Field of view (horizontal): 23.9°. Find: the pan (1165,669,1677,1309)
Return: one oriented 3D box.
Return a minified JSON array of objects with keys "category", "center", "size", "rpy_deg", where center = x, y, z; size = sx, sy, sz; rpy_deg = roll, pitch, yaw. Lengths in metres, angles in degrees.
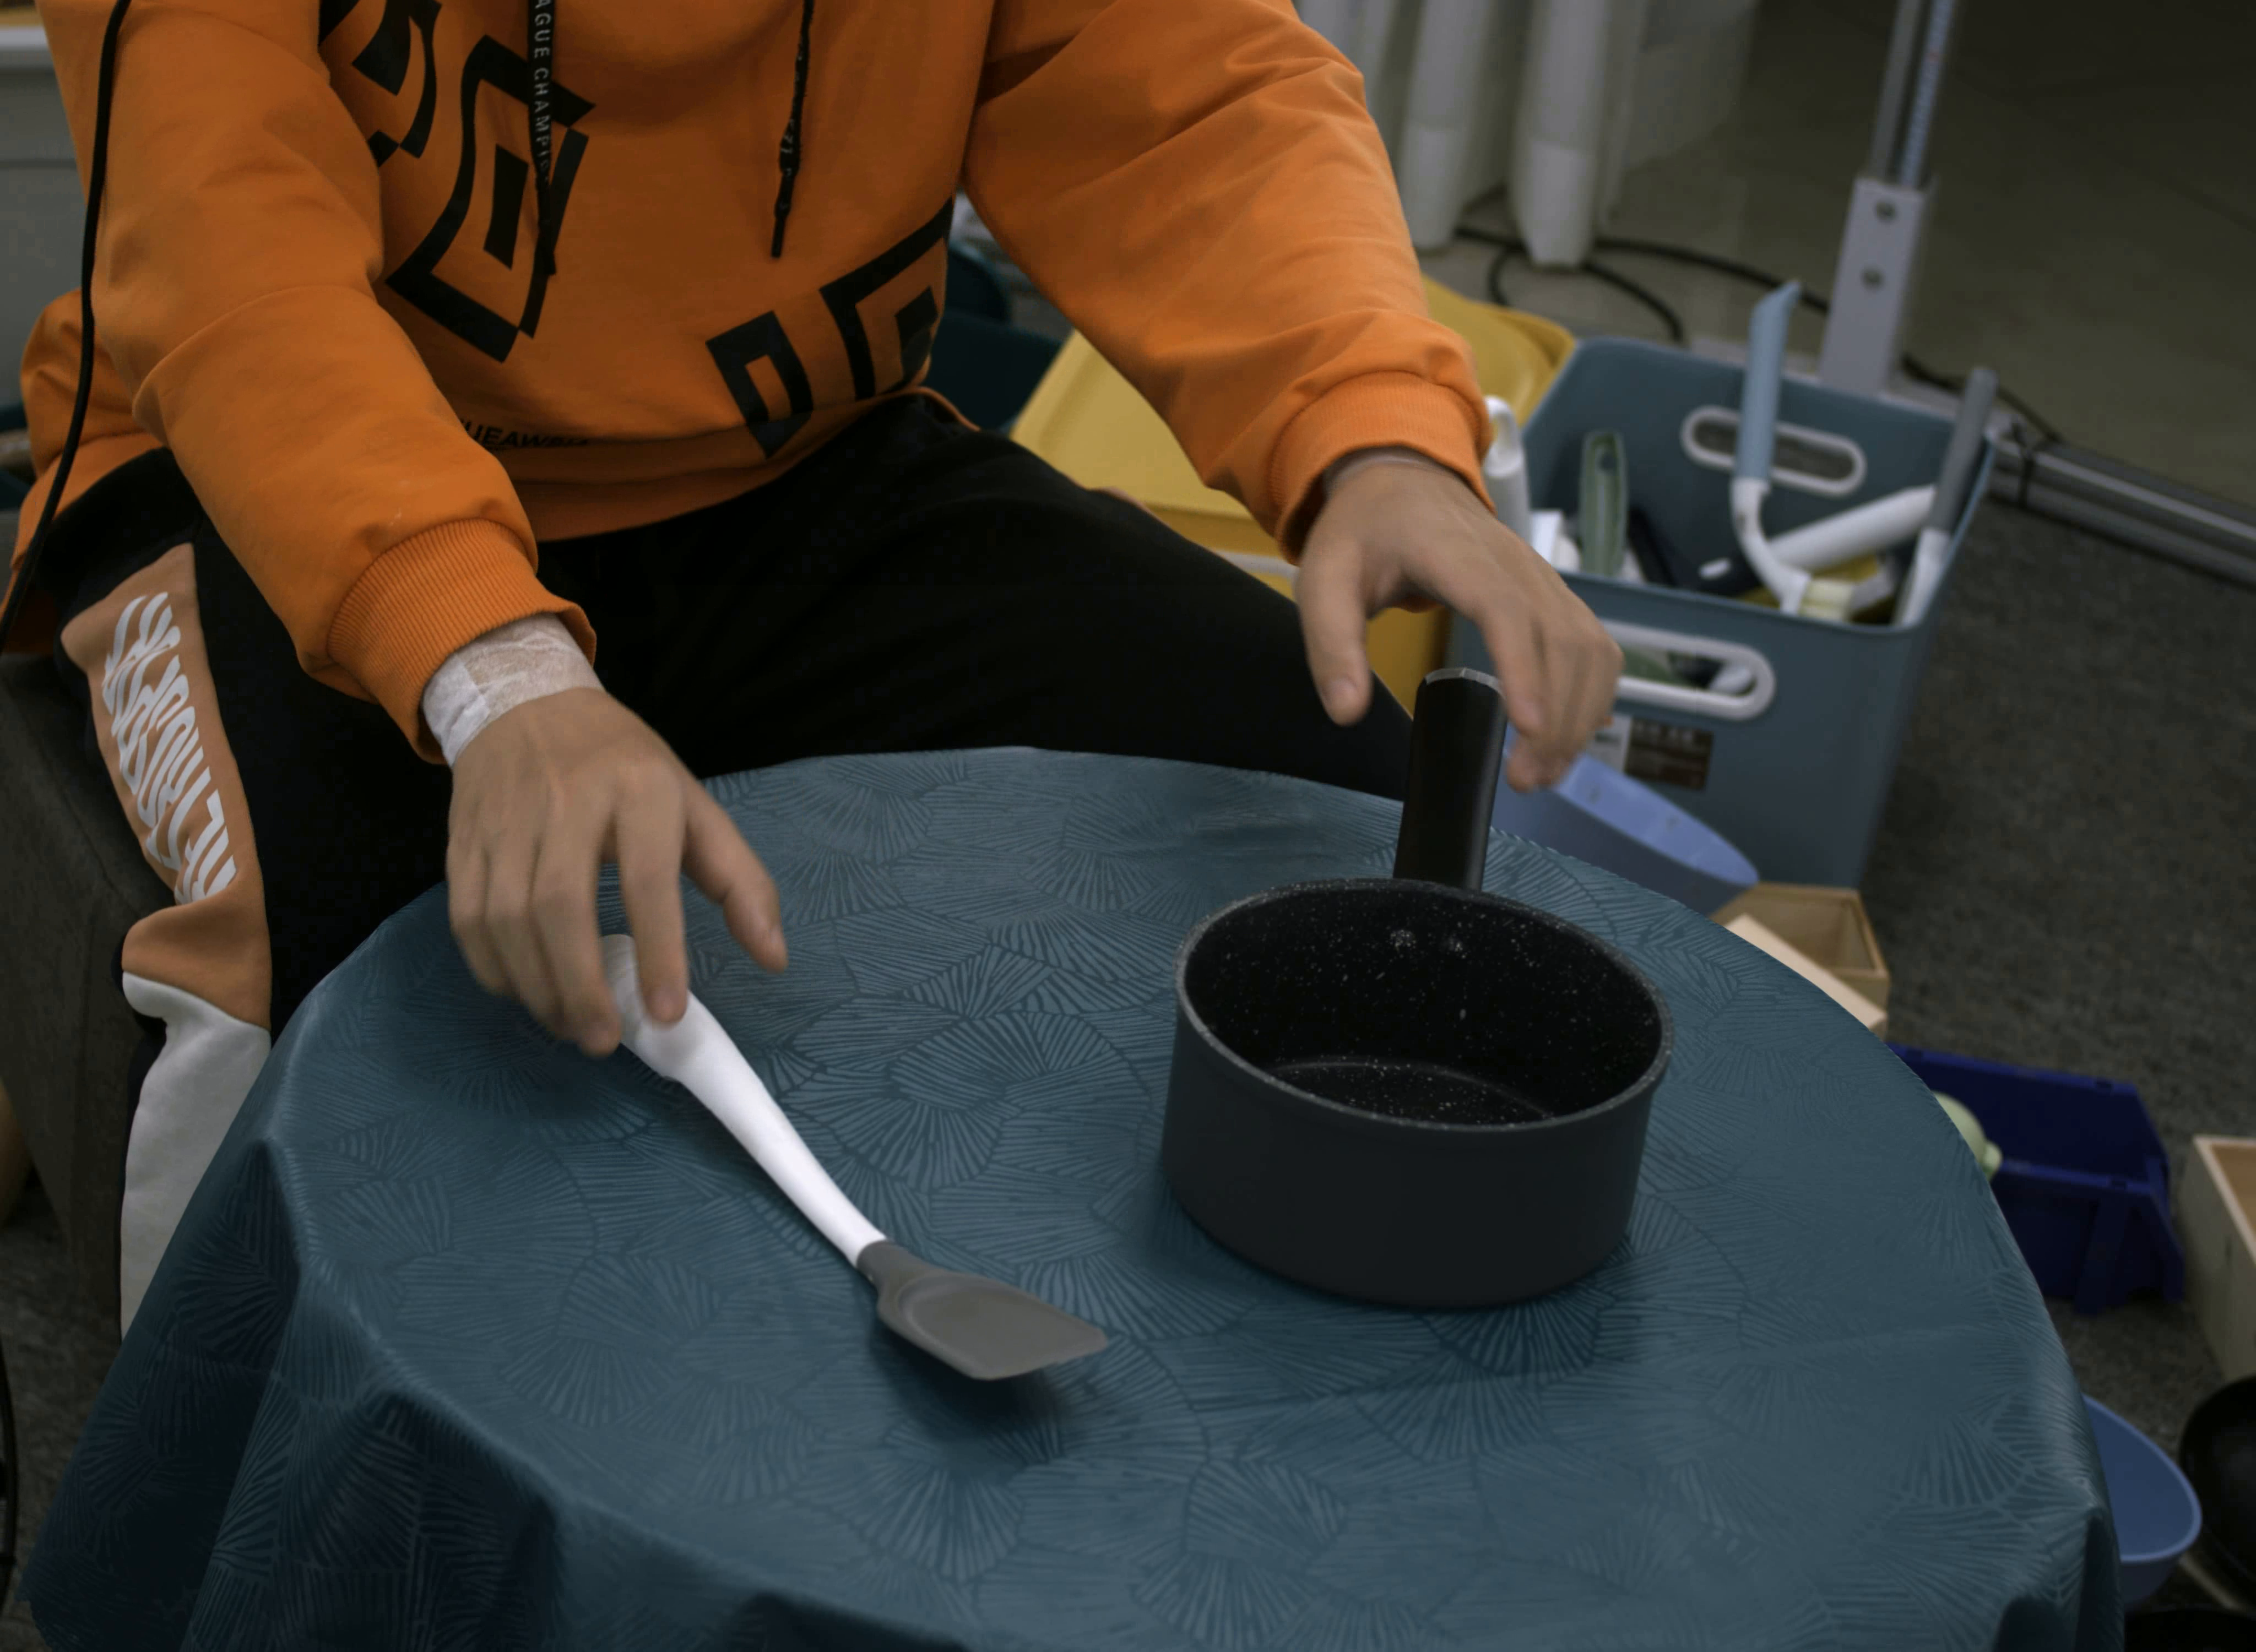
[{"category":"pan","center":[0.108,0.052,1.873],"size":[0.172,0.086,0.330],"rpy_deg":[10,29,5]}]

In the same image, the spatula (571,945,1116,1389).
[{"category":"spatula","center":[-0.102,0.116,1.759],"size":[0.058,0.032,0.290],"rpy_deg":[-8,30,-34]}]
